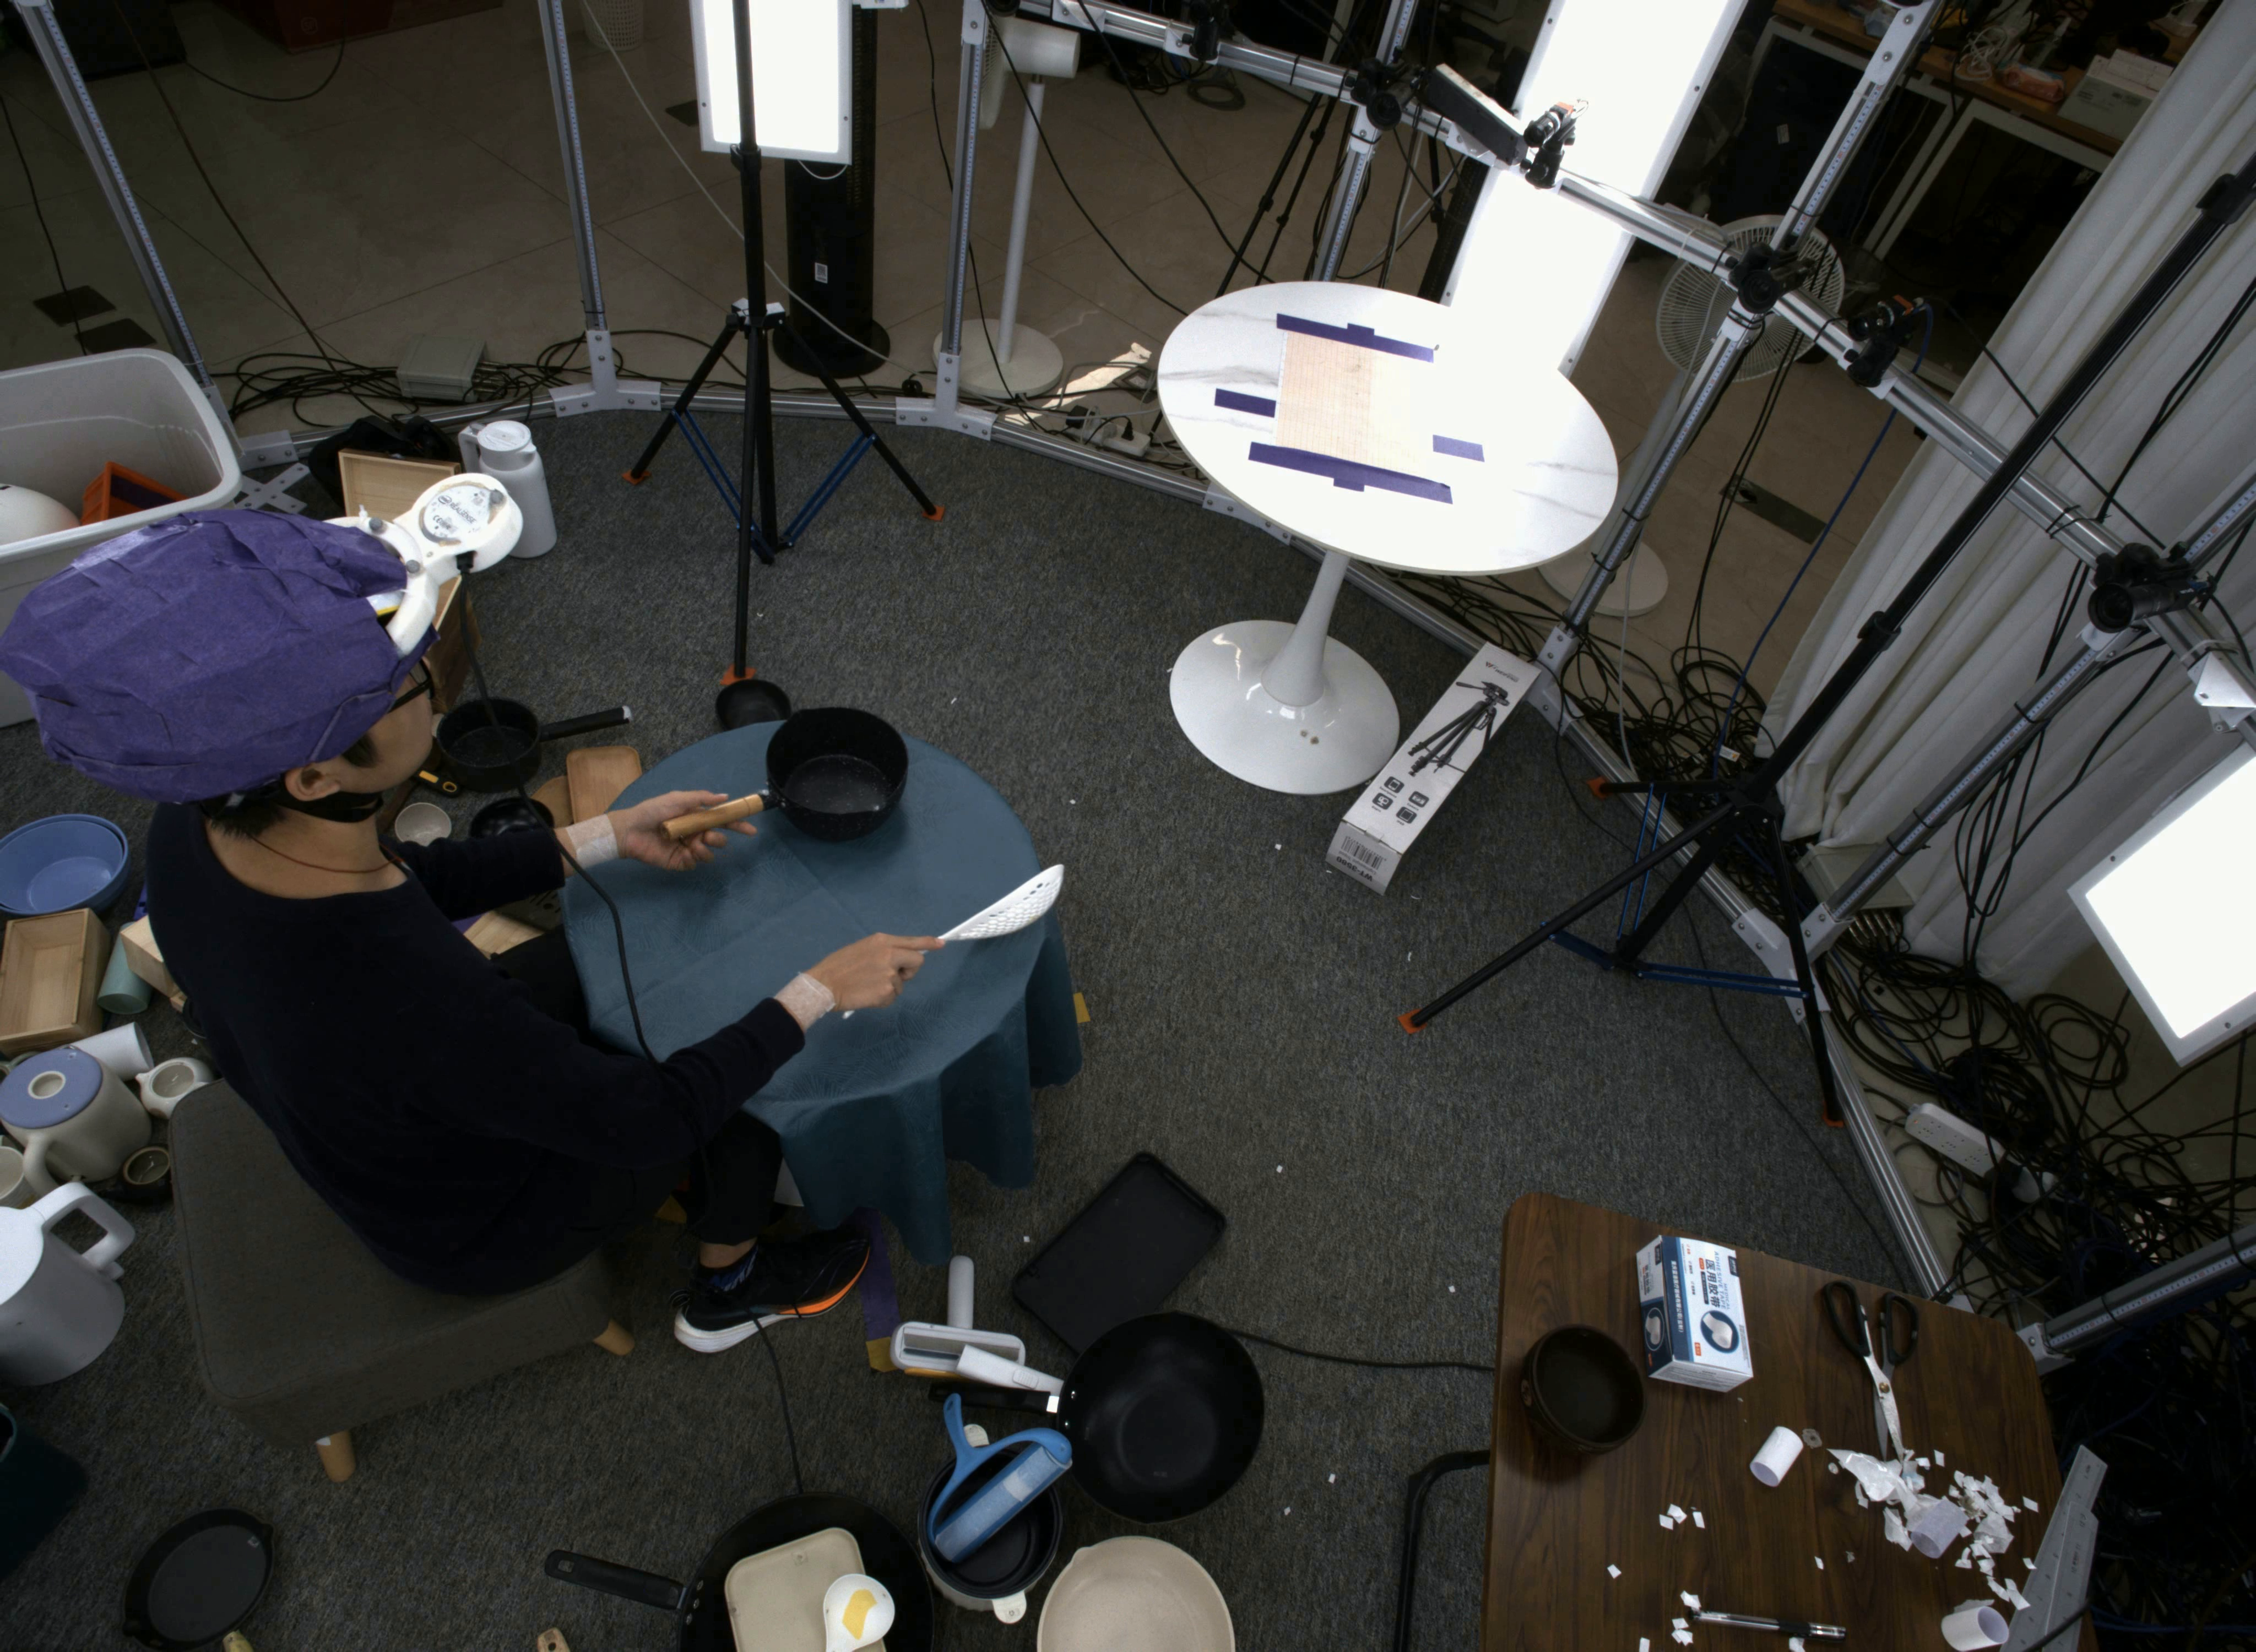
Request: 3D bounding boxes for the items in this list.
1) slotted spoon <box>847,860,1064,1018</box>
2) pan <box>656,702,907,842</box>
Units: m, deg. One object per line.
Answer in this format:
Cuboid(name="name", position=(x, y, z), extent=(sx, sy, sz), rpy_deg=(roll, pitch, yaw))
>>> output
Cuboid(name="slotted spoon", position=(-0.206, 0.137, 1.574), extent=(0.350, 0.136, 0.050), rpy_deg=(-25, 78, -38))
Cuboid(name="pan", position=(-0.444, -0.038, 1.667), extent=(0.344, 0.110, 0.203), rpy_deg=(-30, 67, -33))
